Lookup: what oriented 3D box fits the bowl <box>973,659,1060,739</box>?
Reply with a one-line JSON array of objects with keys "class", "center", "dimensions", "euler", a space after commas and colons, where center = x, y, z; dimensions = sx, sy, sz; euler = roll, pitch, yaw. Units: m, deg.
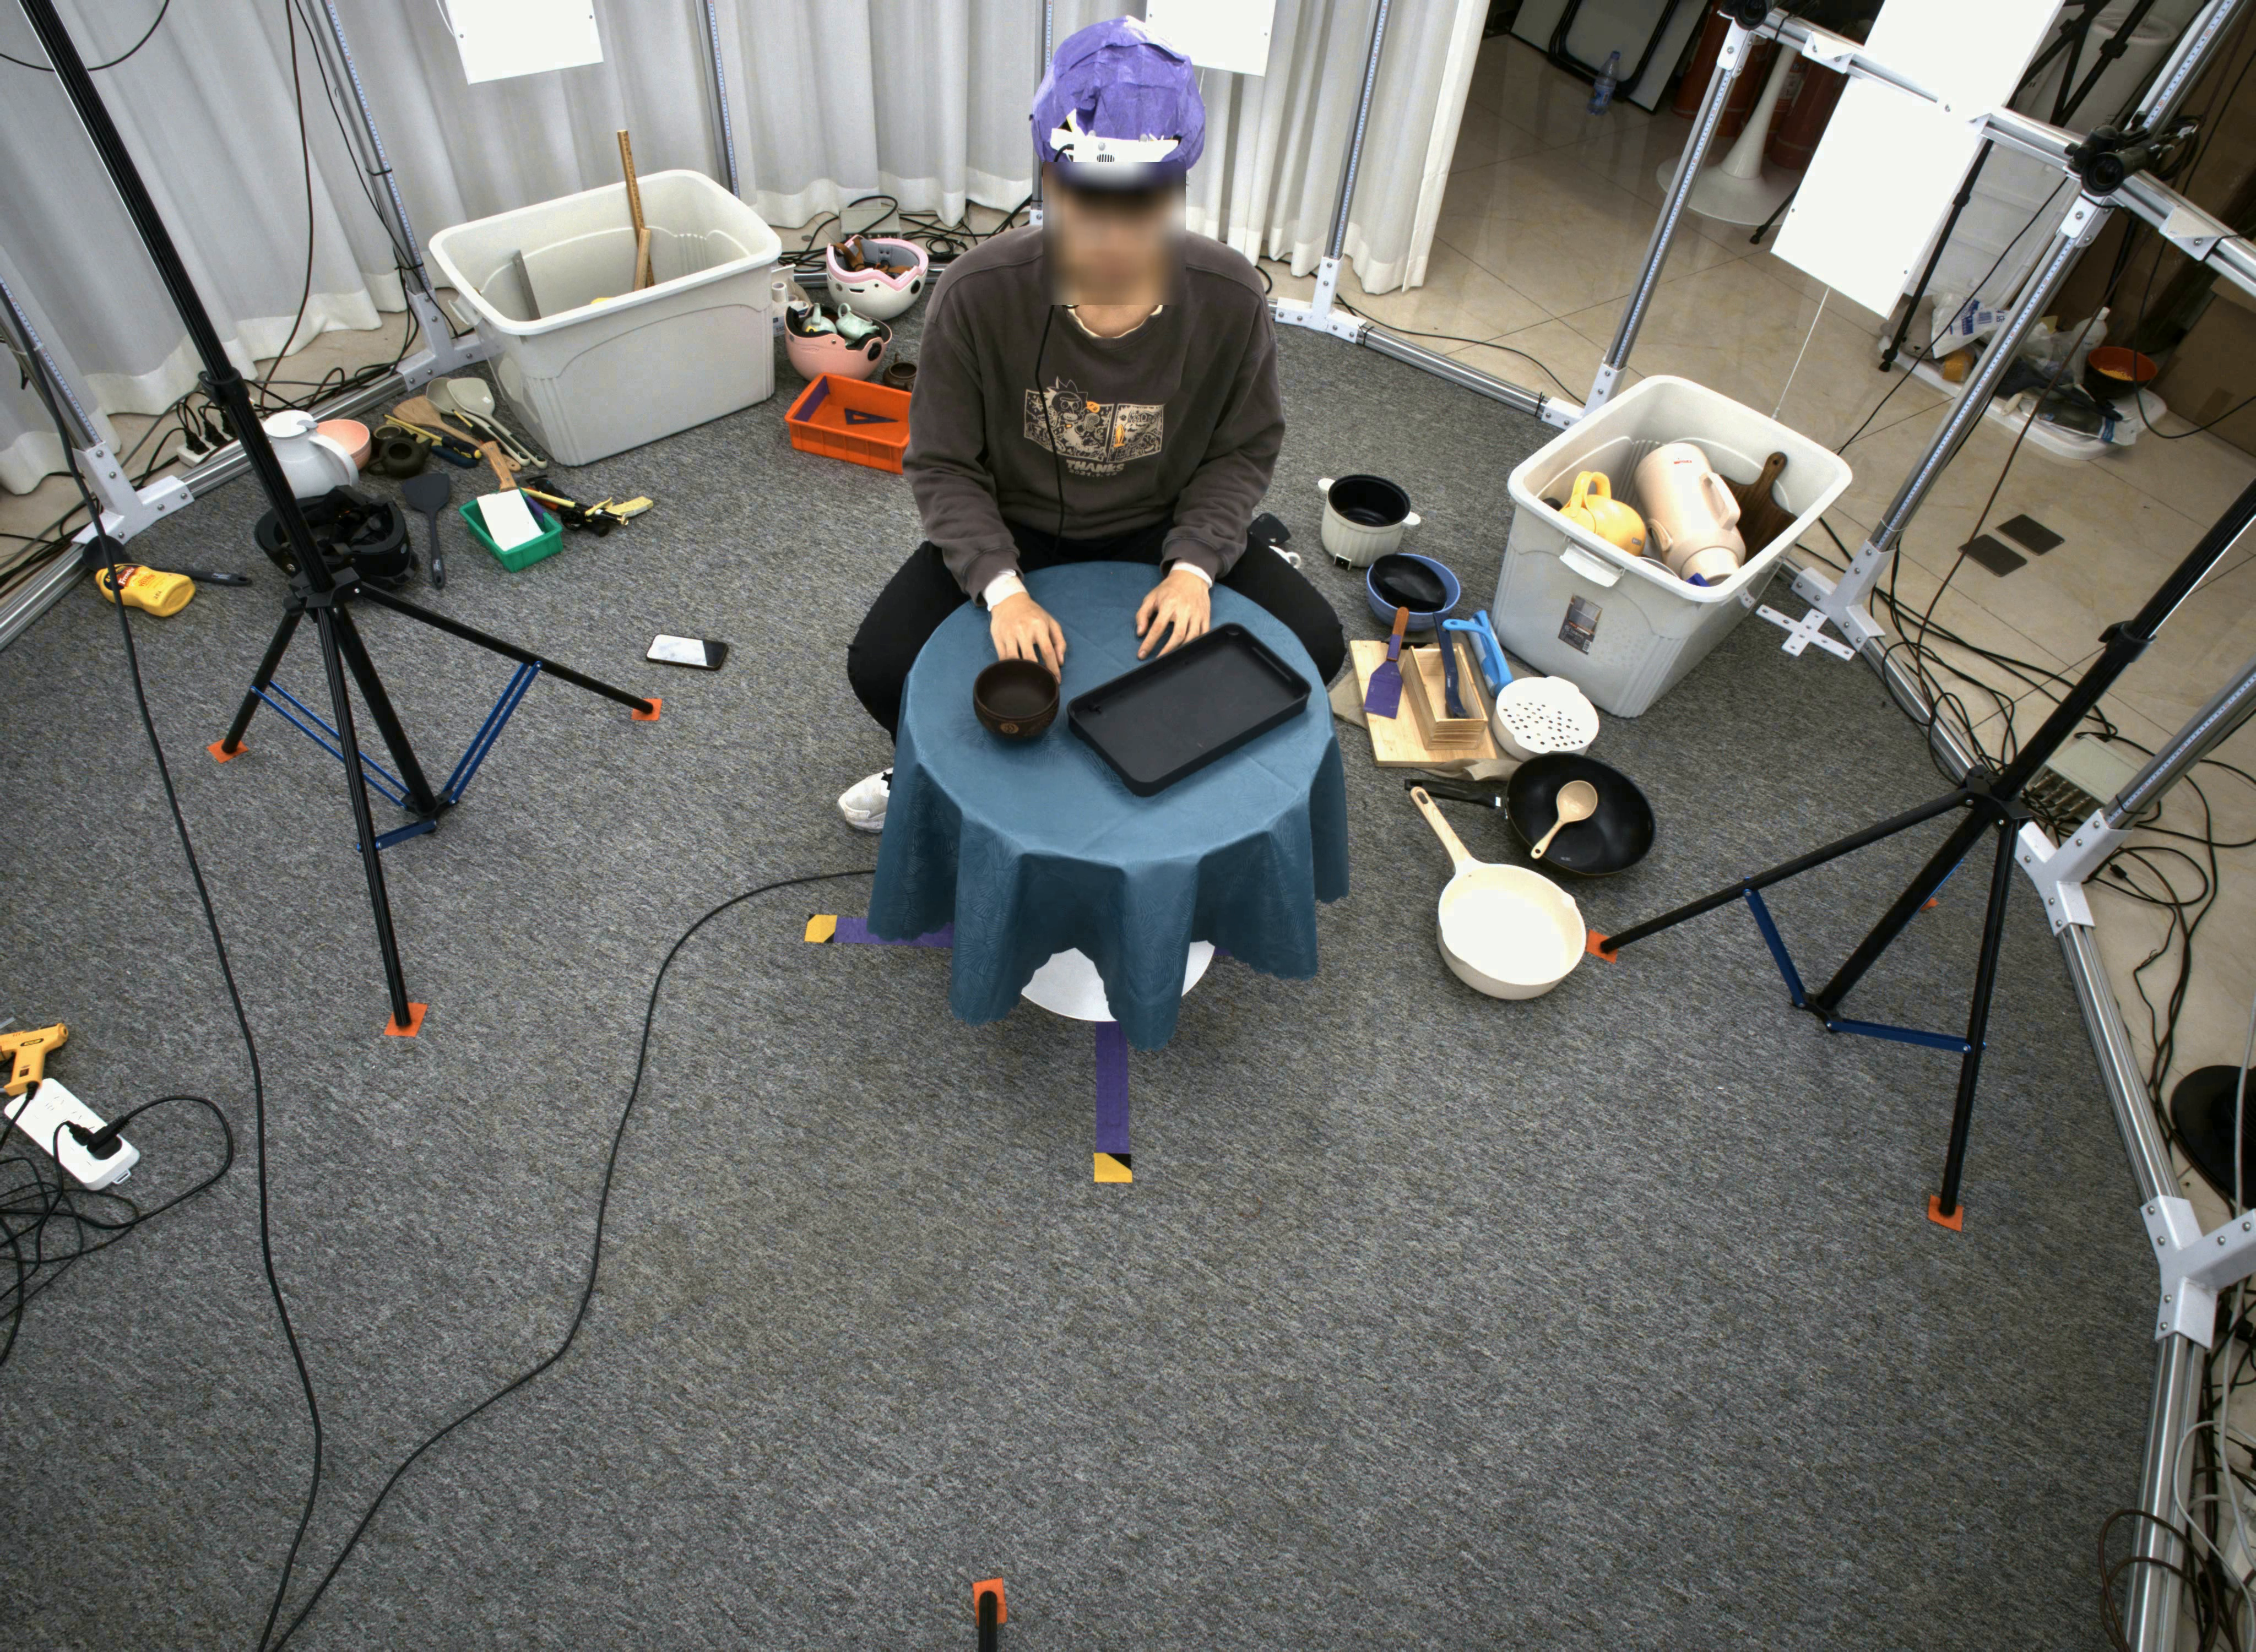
[{"class": "bowl", "center": [-0.152, -0.165, 1.754], "dimensions": [0.118, 0.068, 0.121], "euler": [2, 47, -2]}]

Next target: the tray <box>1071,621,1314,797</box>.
[{"class": "tray", "center": [0.092, -0.170, 1.796], "dimensions": [0.320, 0.036, 0.187], "euler": [-31, 57, -26]}]
